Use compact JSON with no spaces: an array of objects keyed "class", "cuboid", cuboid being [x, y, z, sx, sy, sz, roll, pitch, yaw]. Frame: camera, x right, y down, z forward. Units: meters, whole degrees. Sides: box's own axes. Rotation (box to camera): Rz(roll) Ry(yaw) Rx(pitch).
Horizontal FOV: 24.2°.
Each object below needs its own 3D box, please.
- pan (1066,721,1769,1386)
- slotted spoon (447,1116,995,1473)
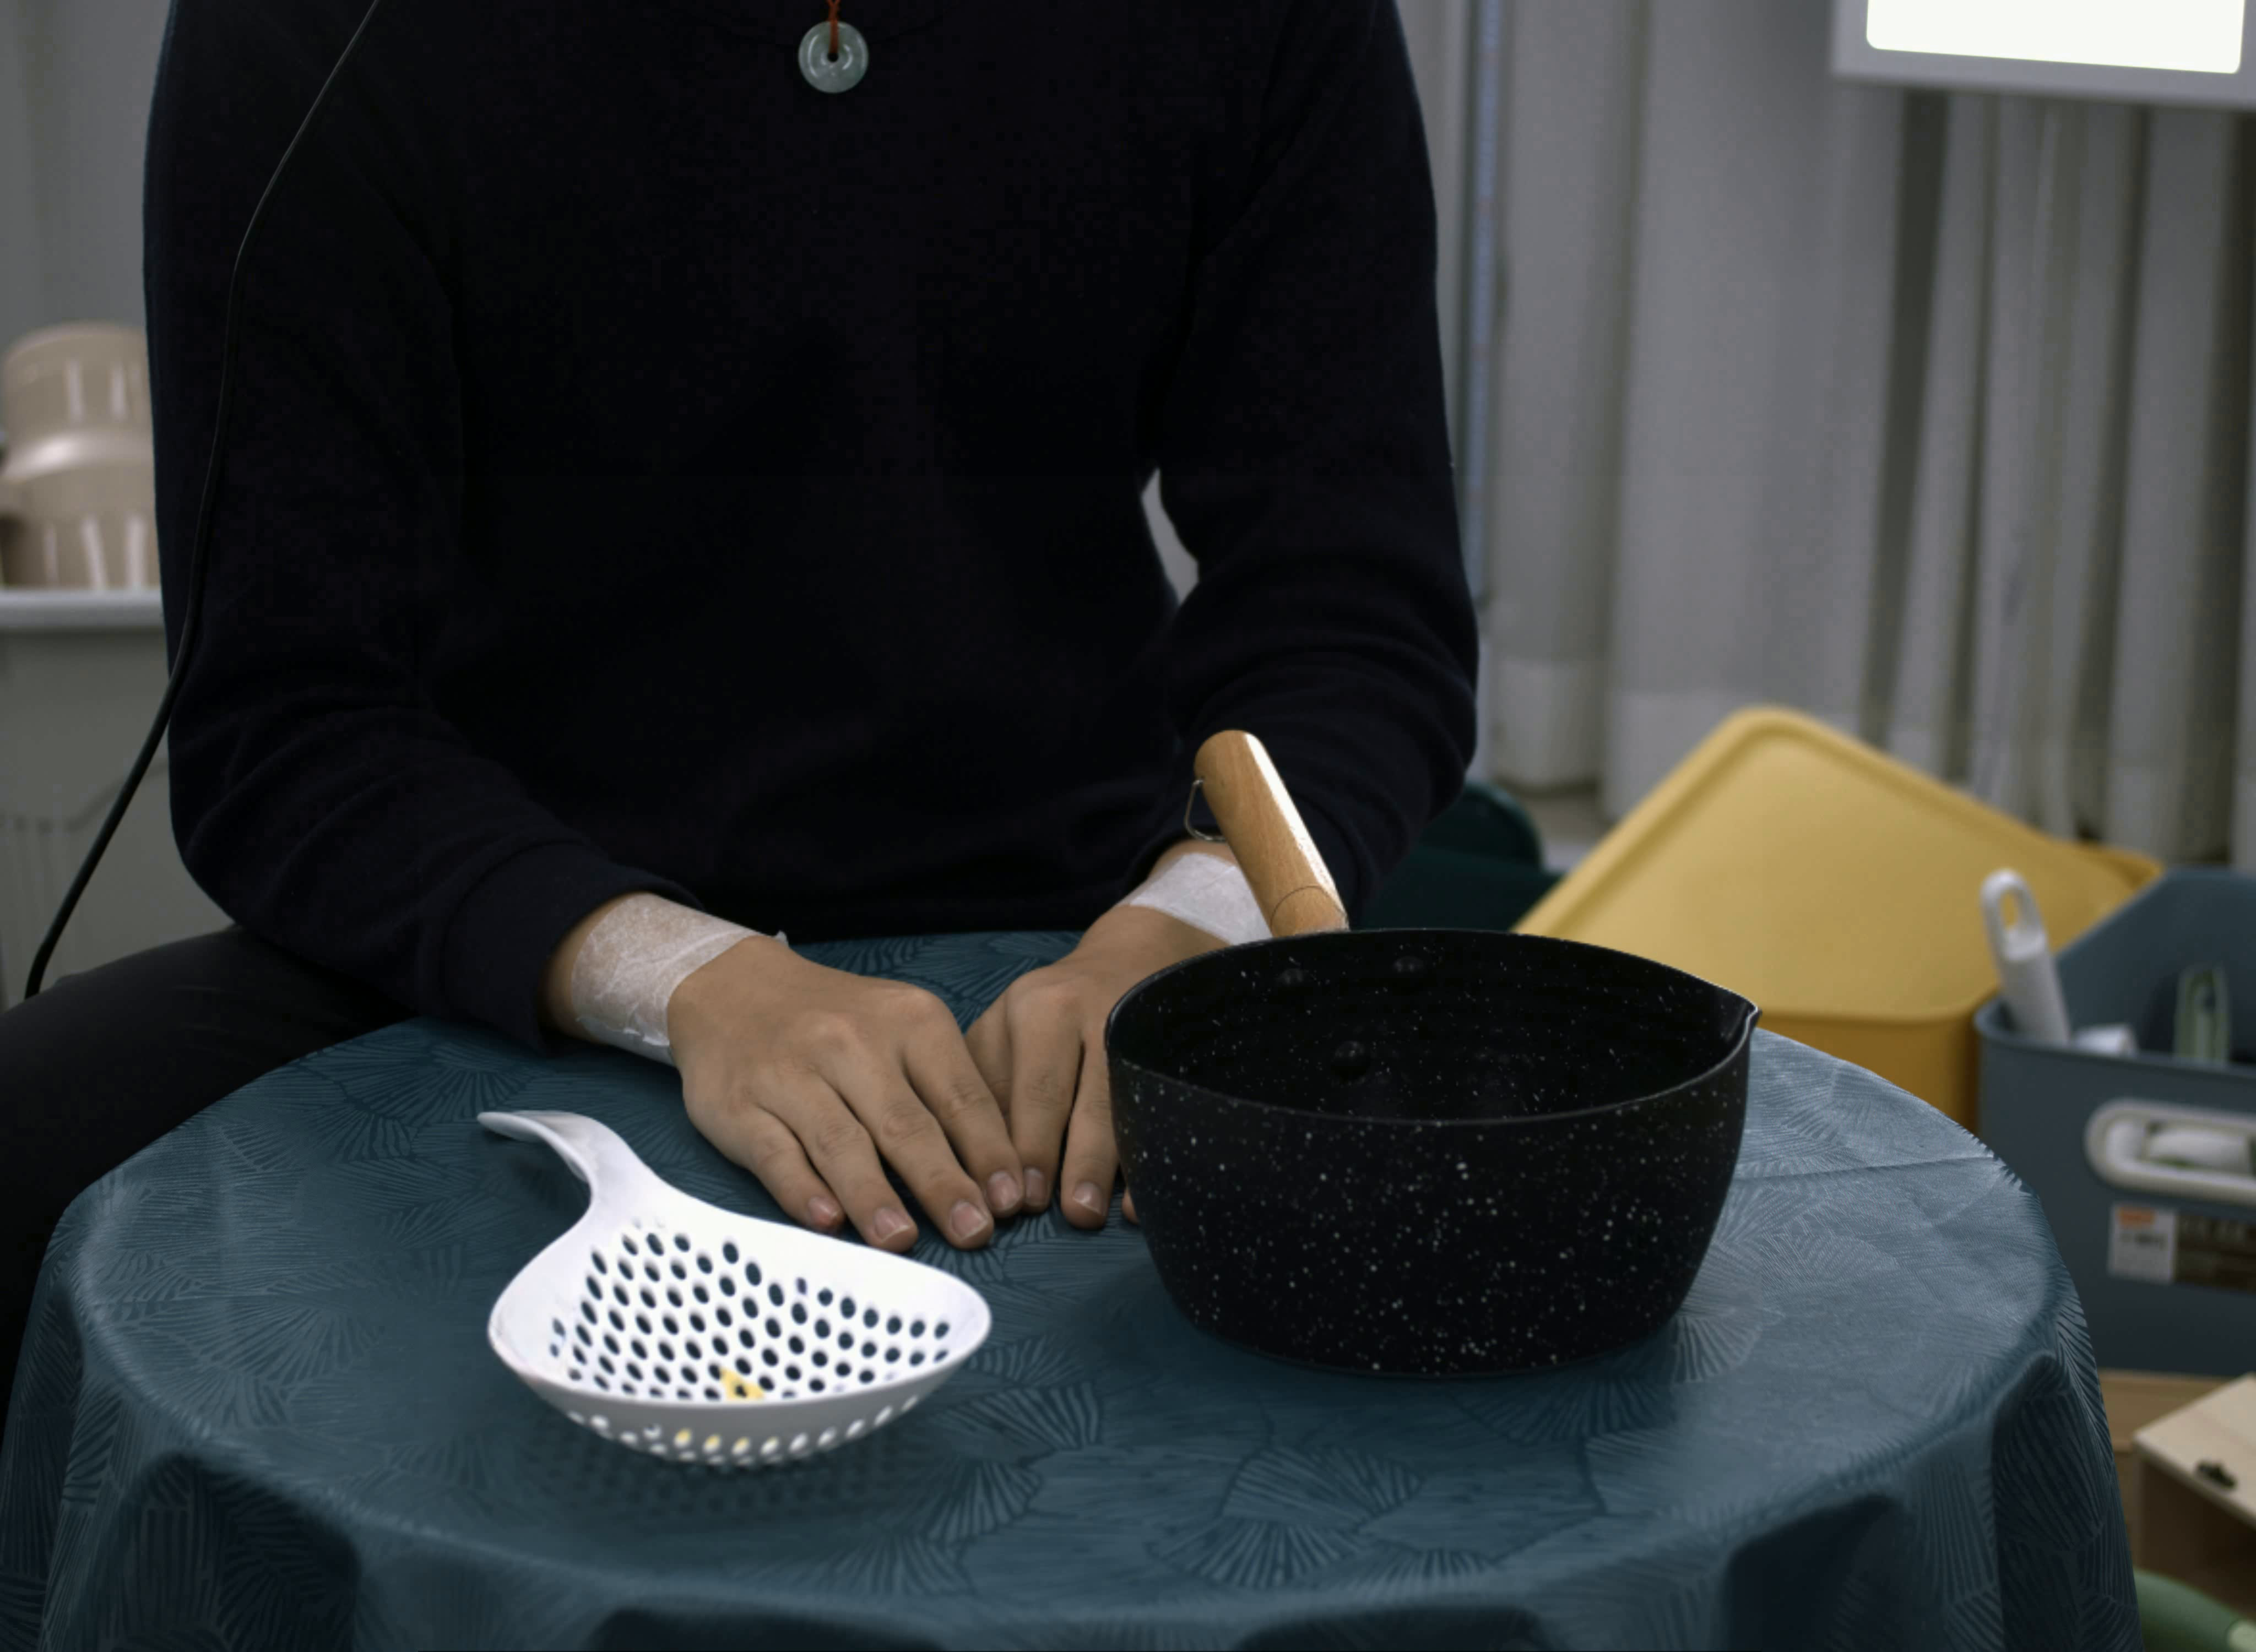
[{"class":"pan","cuboid":[0.068,0.064,1.598,0.207,0.109,0.339,-4,18,-13]},{"class":"slotted spoon","cuboid":[-0.142,0.119,1.513,0.137,0.051,0.344,-6,19,-20]}]
